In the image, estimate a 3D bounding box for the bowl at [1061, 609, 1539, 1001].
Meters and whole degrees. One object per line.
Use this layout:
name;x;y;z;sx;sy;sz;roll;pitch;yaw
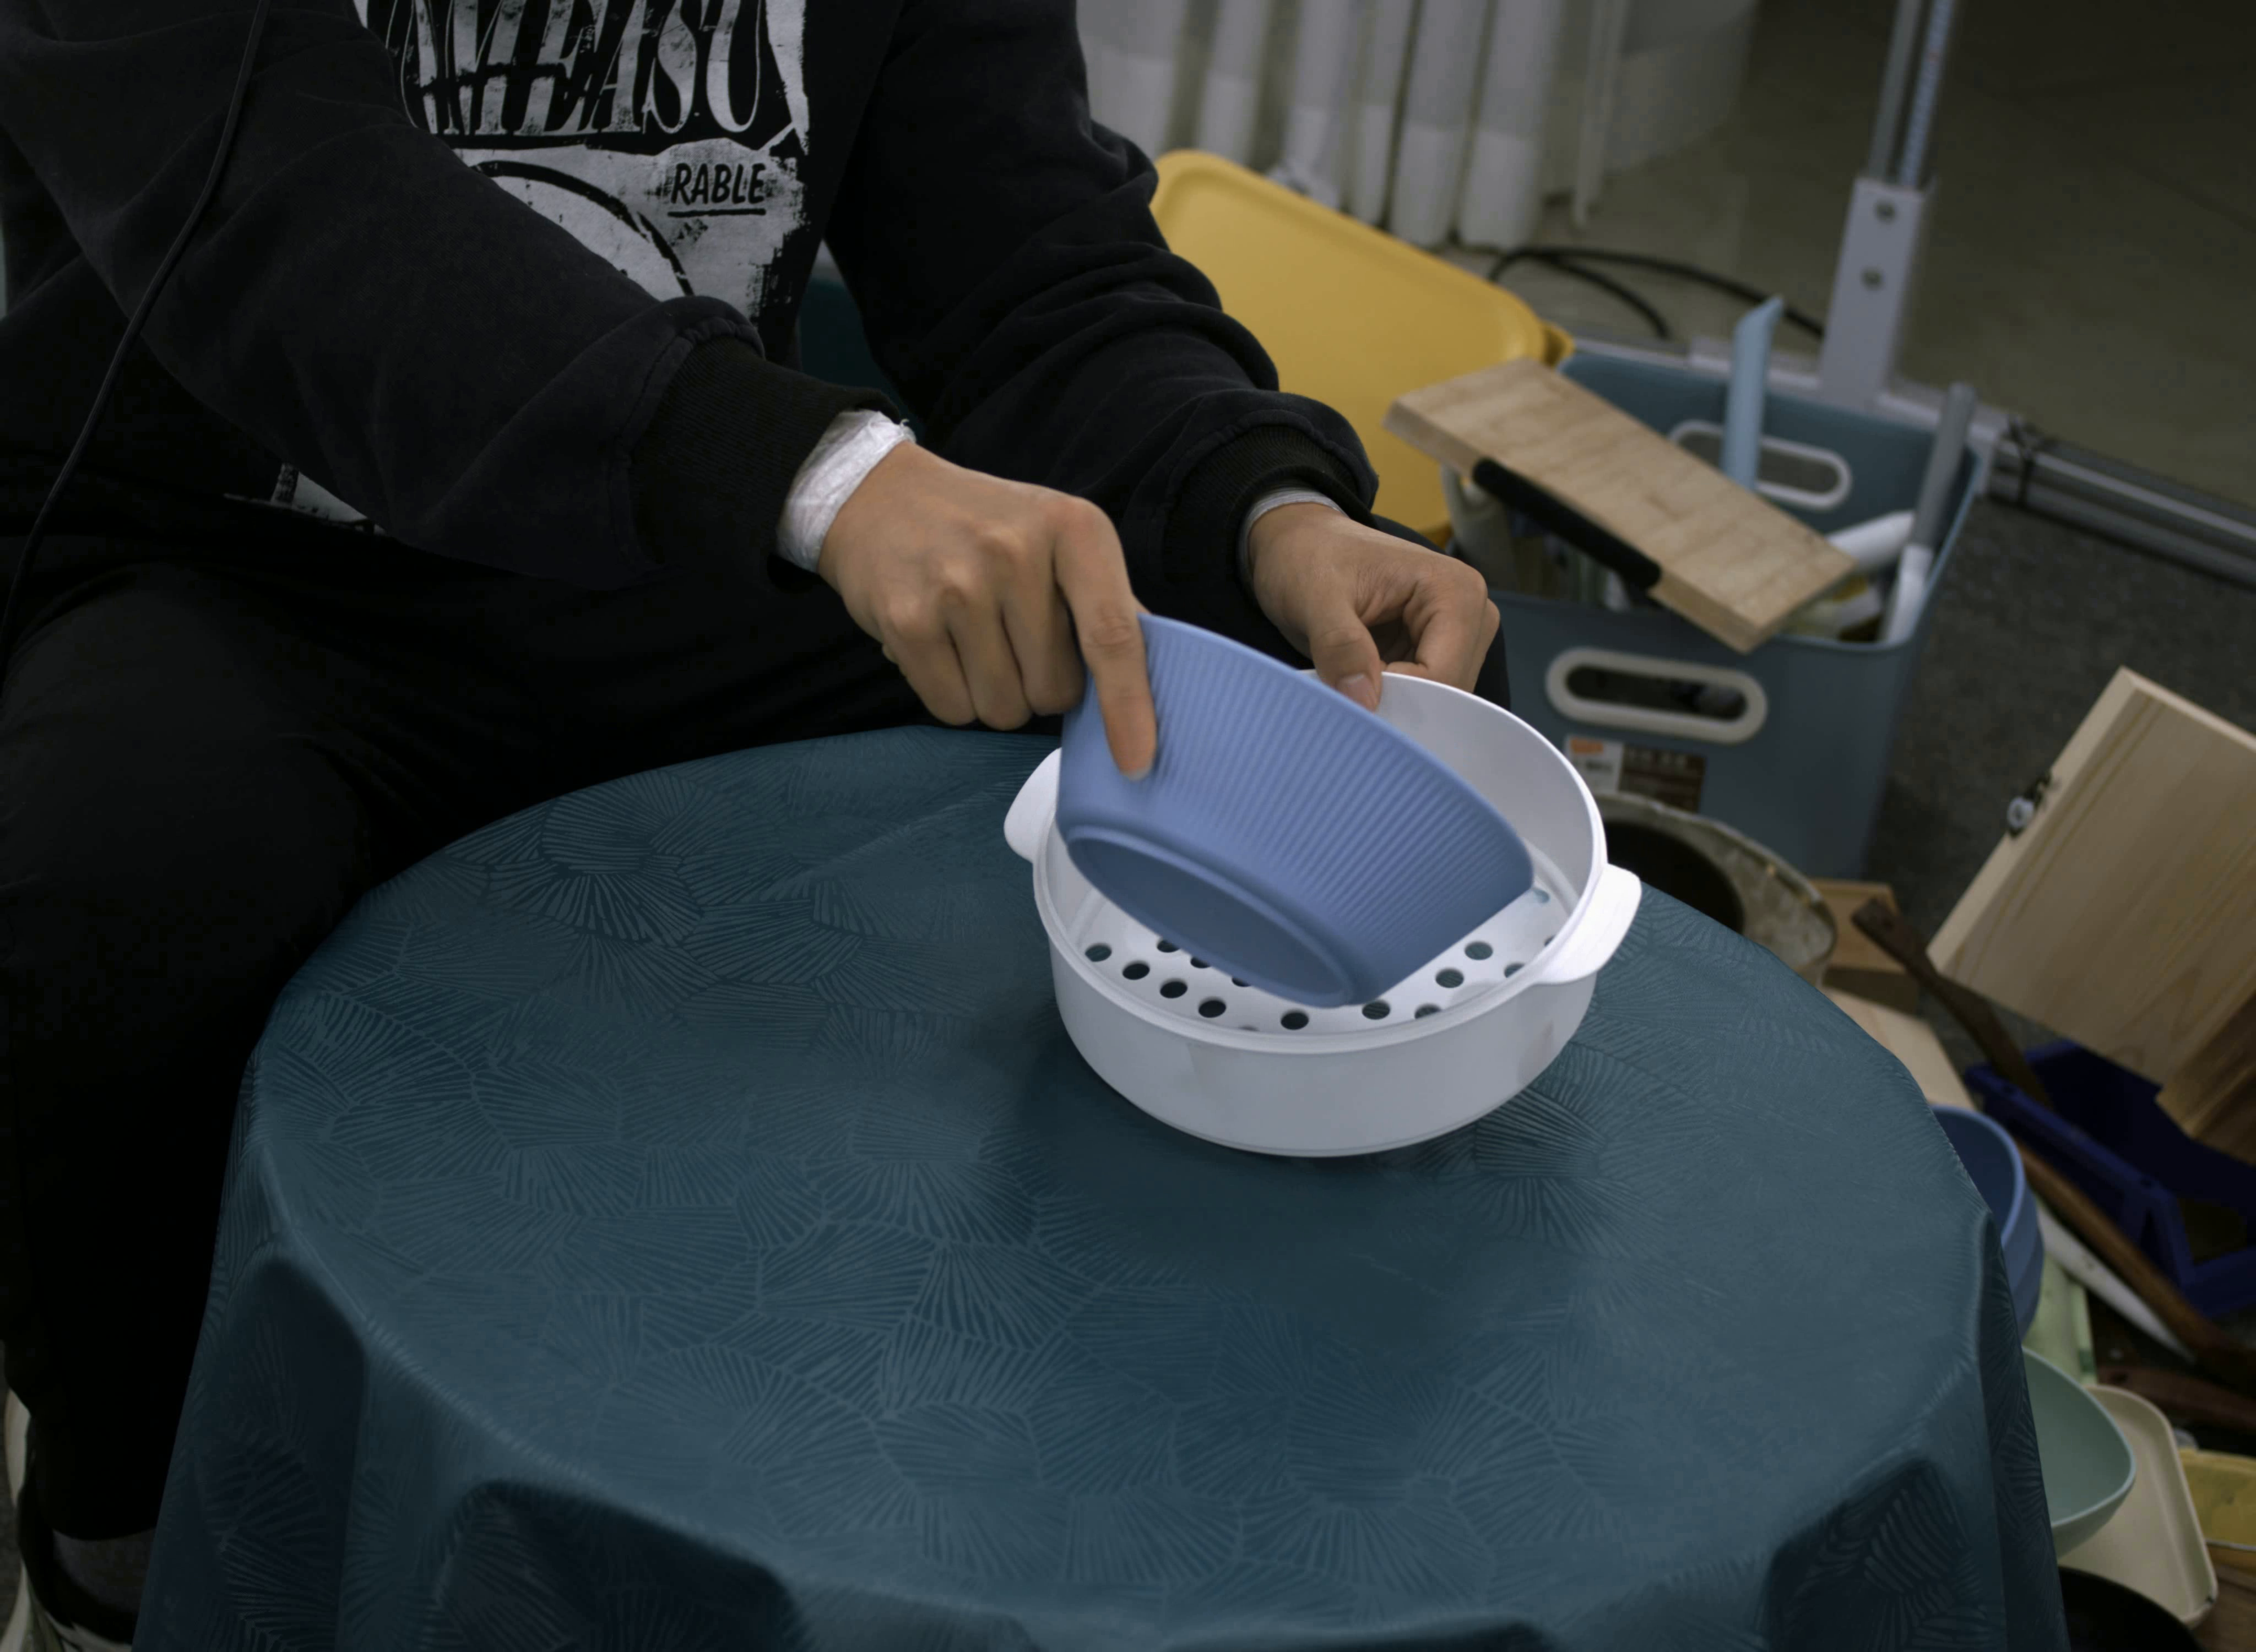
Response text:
bowl;0.044;0.002;1.767;0.177;0.174;0.070;22;74;27

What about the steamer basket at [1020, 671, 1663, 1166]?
steamer basket;0.074;0.033;1.875;0.231;0.069;0.202;14;44;20
